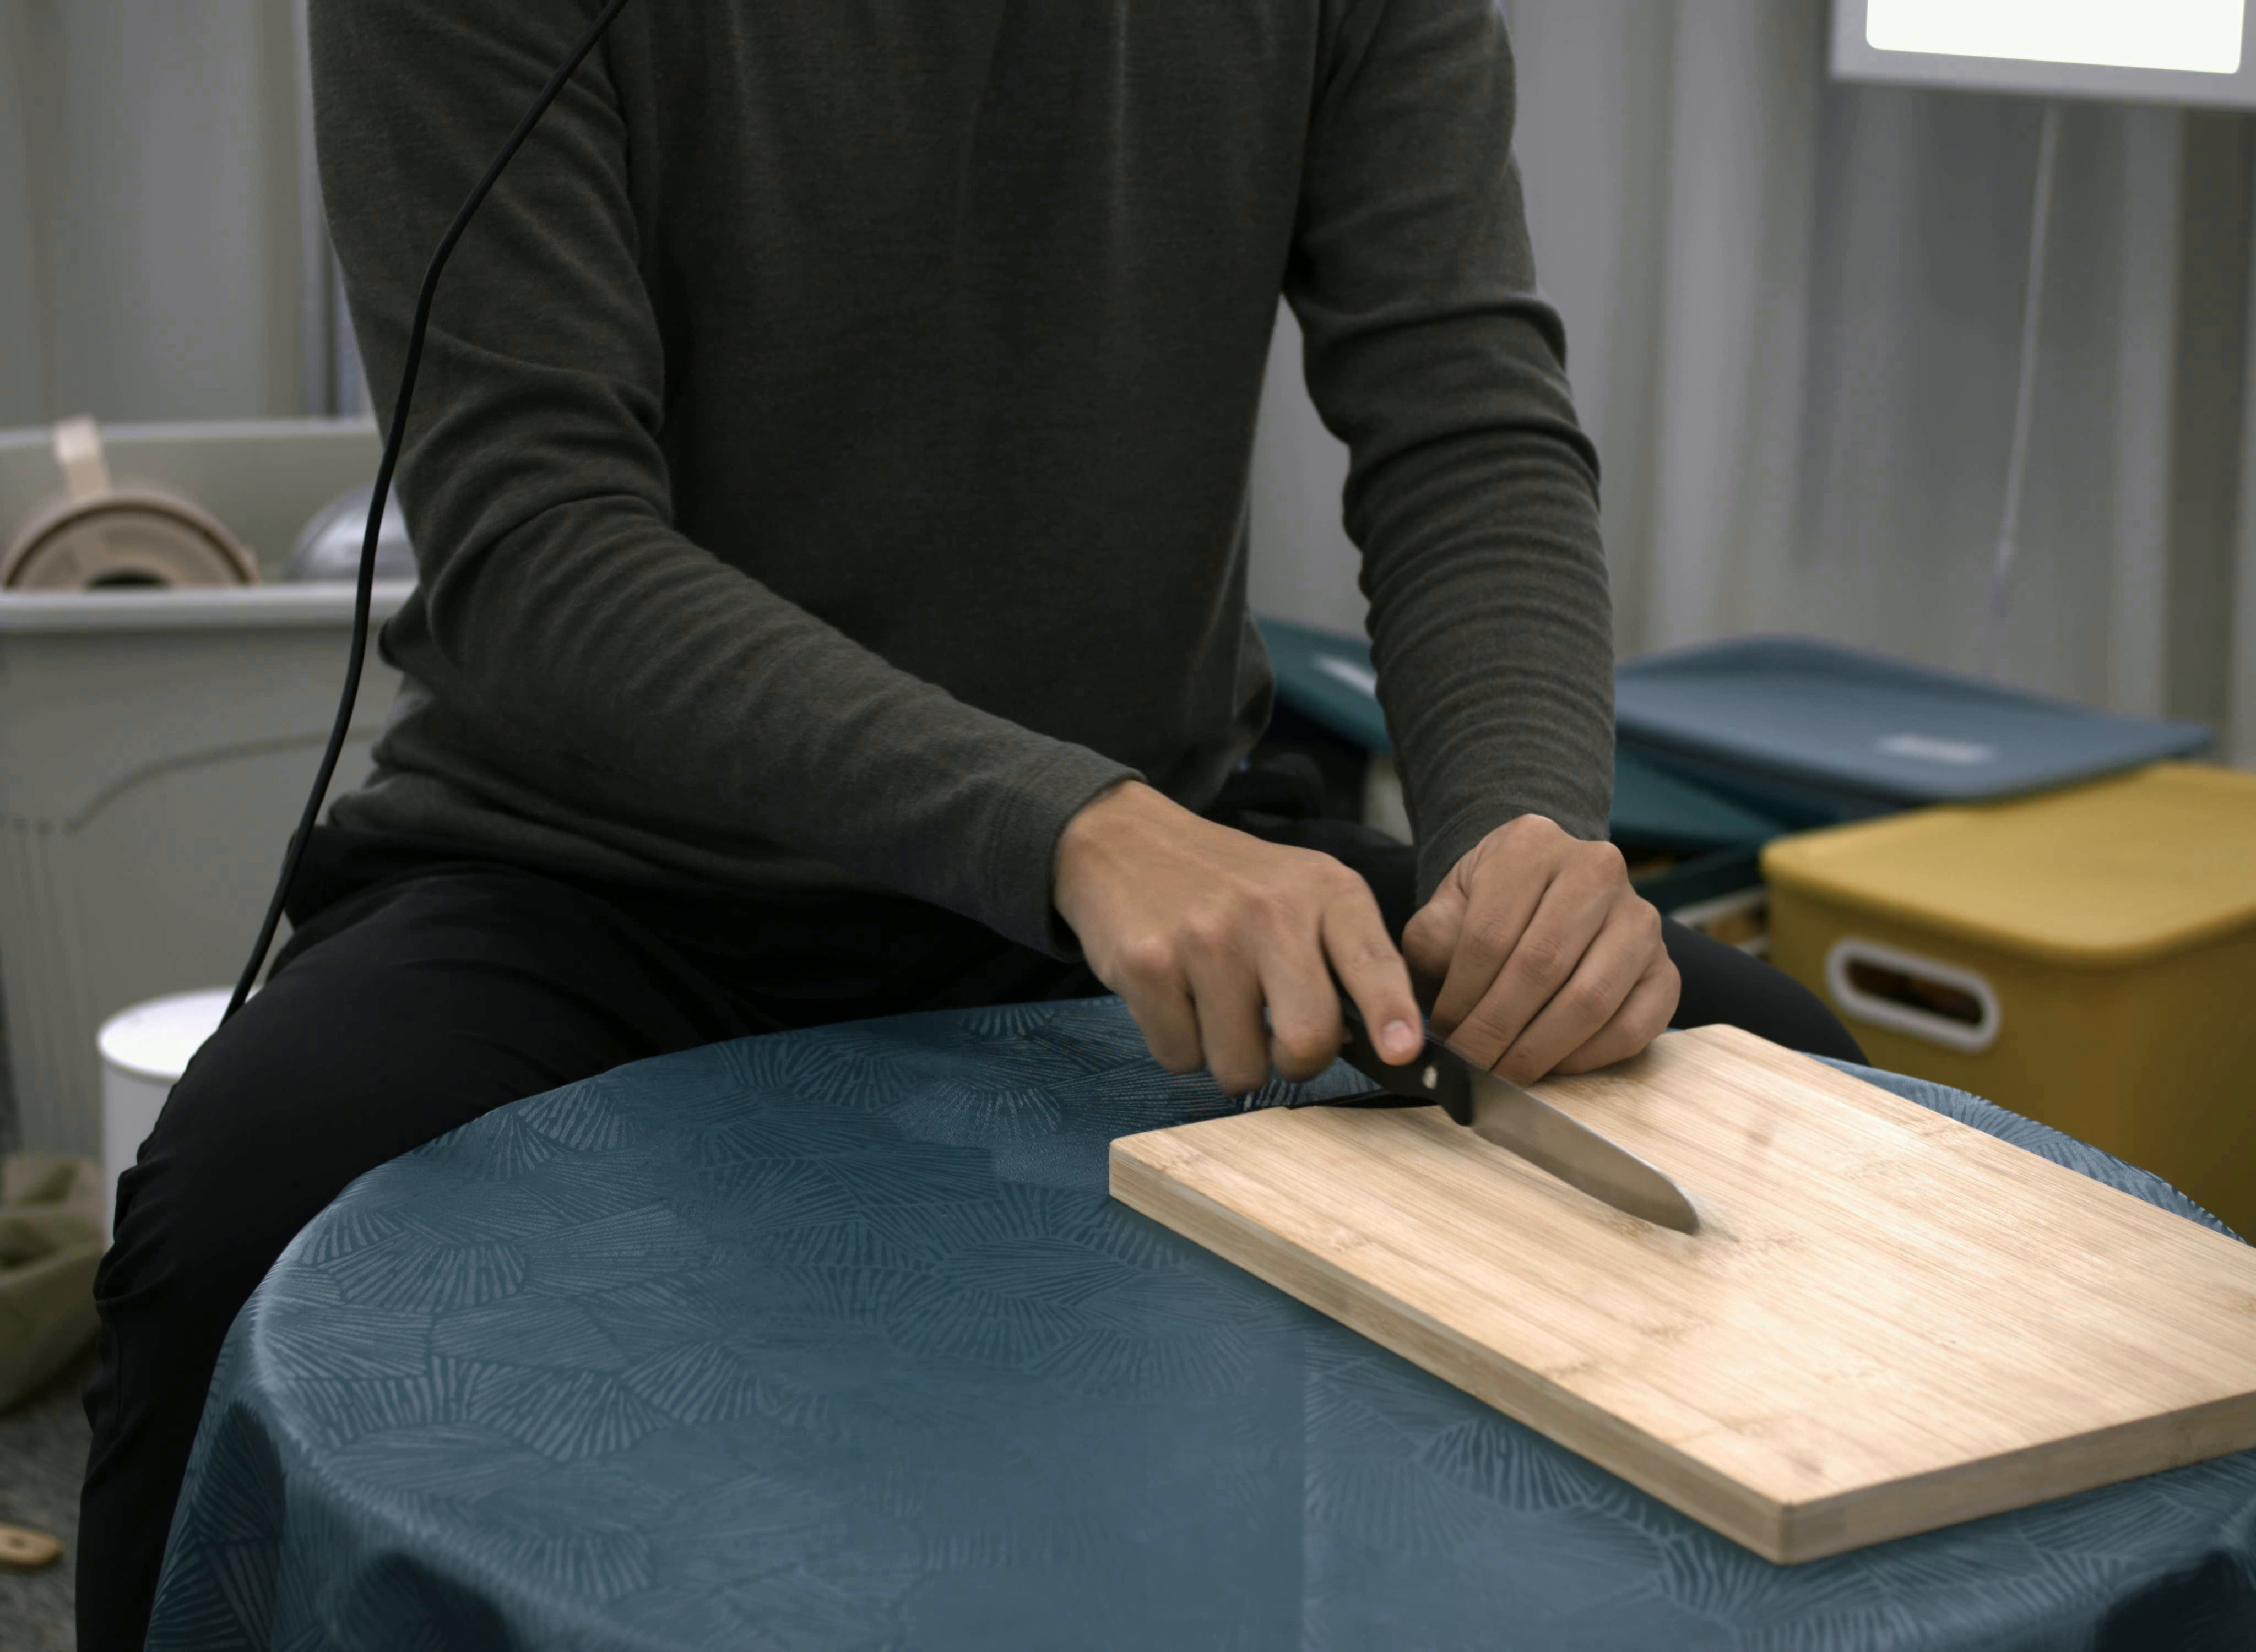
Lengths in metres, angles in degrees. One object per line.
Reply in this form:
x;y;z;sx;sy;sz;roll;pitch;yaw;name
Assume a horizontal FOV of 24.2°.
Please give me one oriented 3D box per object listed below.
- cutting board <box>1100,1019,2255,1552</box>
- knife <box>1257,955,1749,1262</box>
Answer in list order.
0.181;0.127;1.549;0.252;0.024;0.344;-8;18;-32;cutting board
0.112;0.084;1.601;0.016;0.025;0.235;-14;27;-32;knife
